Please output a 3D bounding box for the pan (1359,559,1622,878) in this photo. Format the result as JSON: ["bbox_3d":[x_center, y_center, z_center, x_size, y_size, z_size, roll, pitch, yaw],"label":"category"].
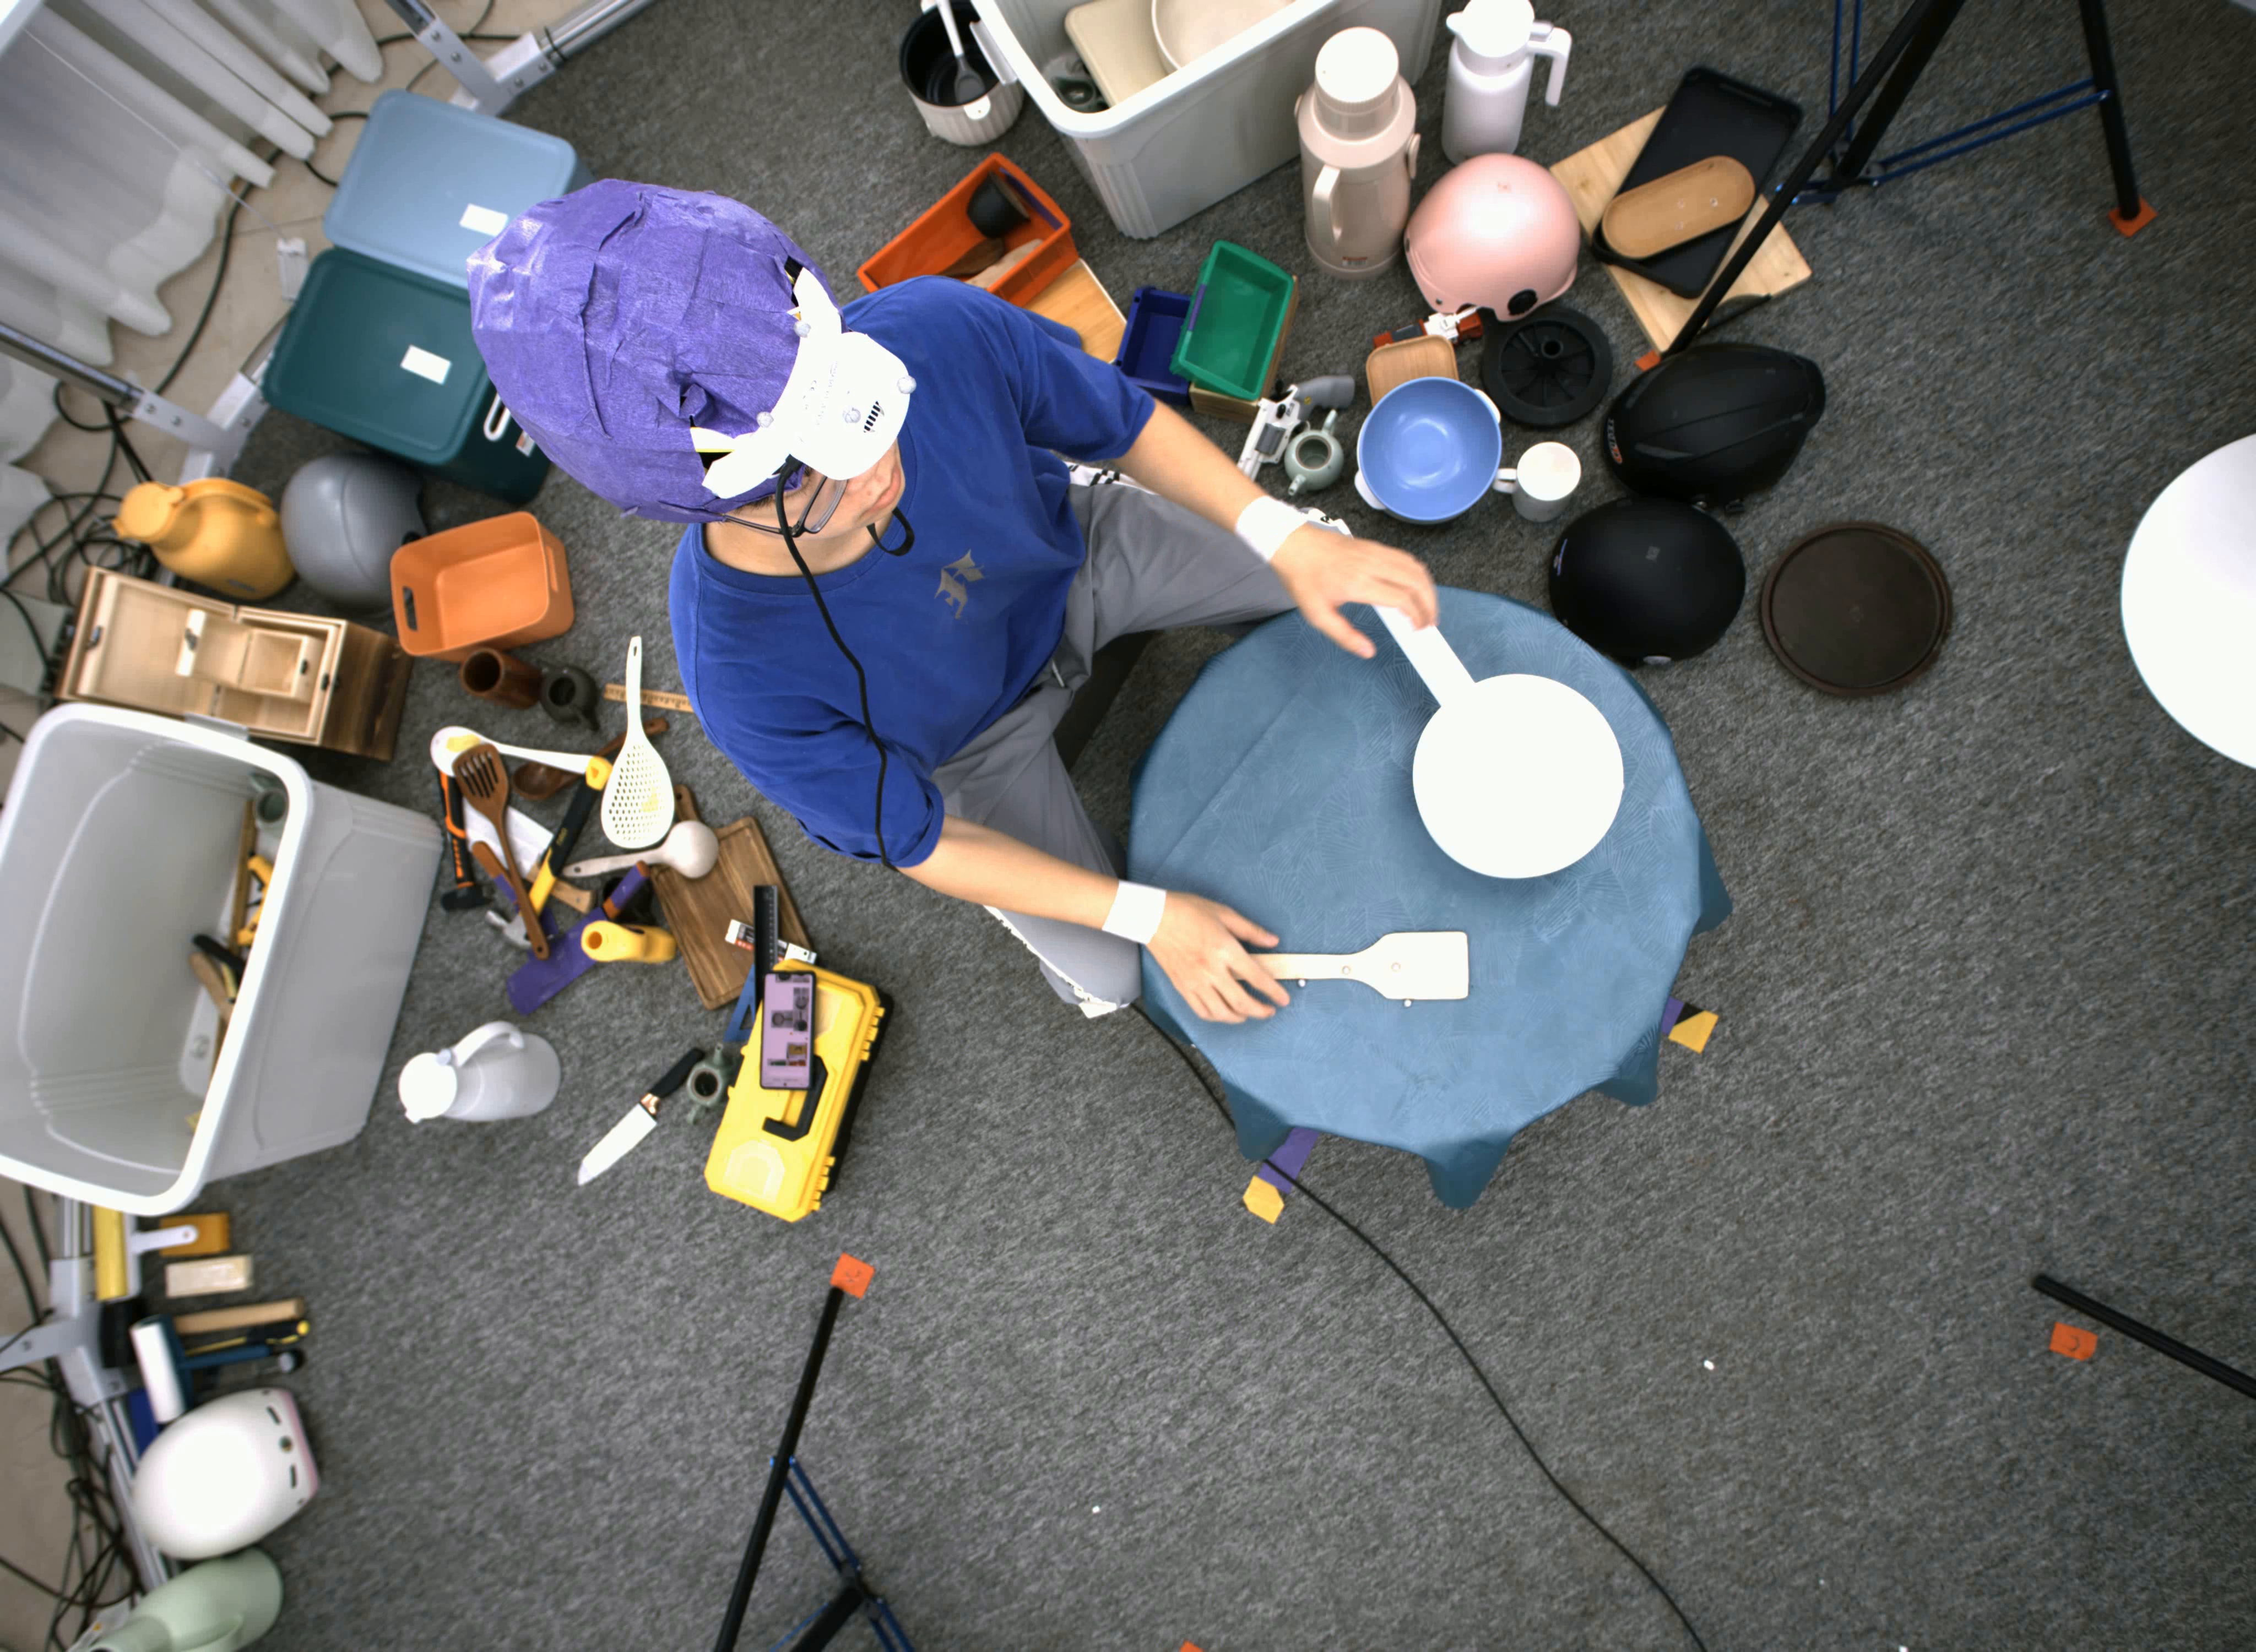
[{"bbox_3d":[0.349,-0.112,1.403,0.202,0.102,0.353,-34,82,8],"label":"pan"}]

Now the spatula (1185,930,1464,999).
[{"bbox_3d":[0.205,0.146,1.462,0.294,0.010,0.072,-2,88,10],"label":"spatula"}]
